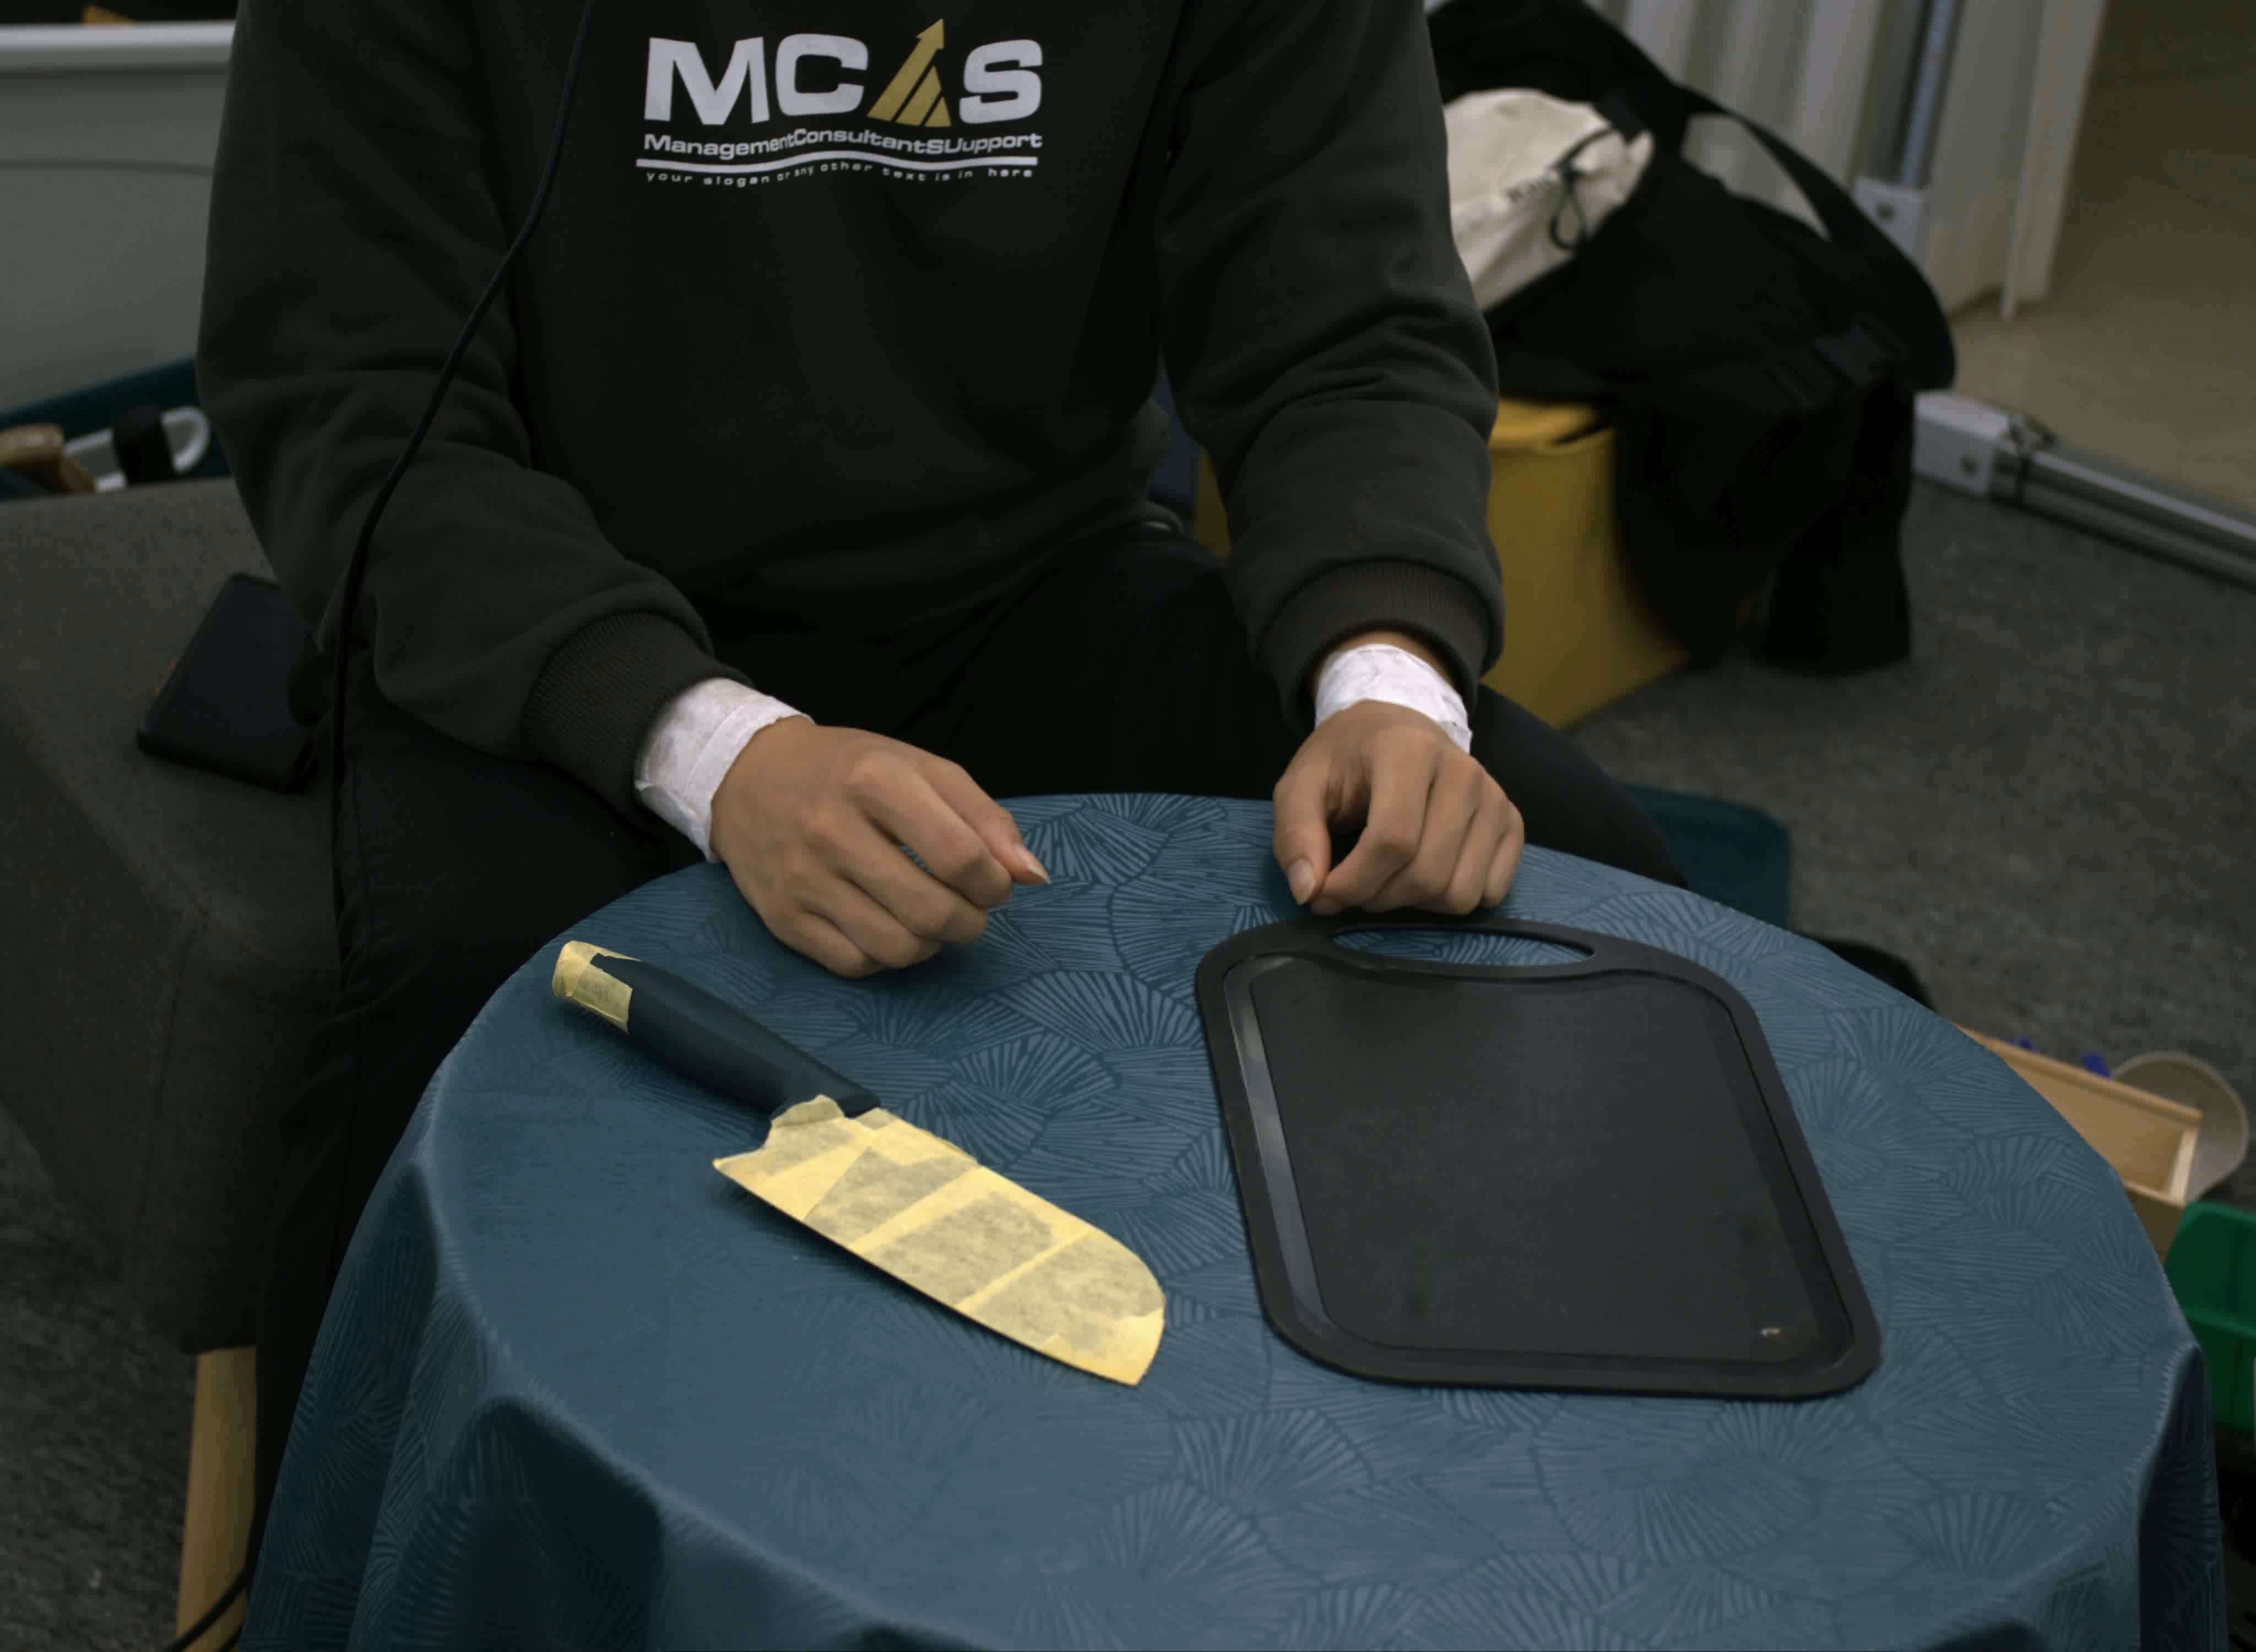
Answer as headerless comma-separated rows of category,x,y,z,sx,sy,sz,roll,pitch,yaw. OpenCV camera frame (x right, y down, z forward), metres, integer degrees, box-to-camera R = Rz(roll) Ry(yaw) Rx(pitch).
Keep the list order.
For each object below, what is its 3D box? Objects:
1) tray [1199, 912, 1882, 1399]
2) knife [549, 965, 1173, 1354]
tray,0.137,0.107,1.862,0.210,0.010,0.327,3,27,-6
knife,-0.098,0.113,1.788,0.291,0.027,0.080,27,31,33
